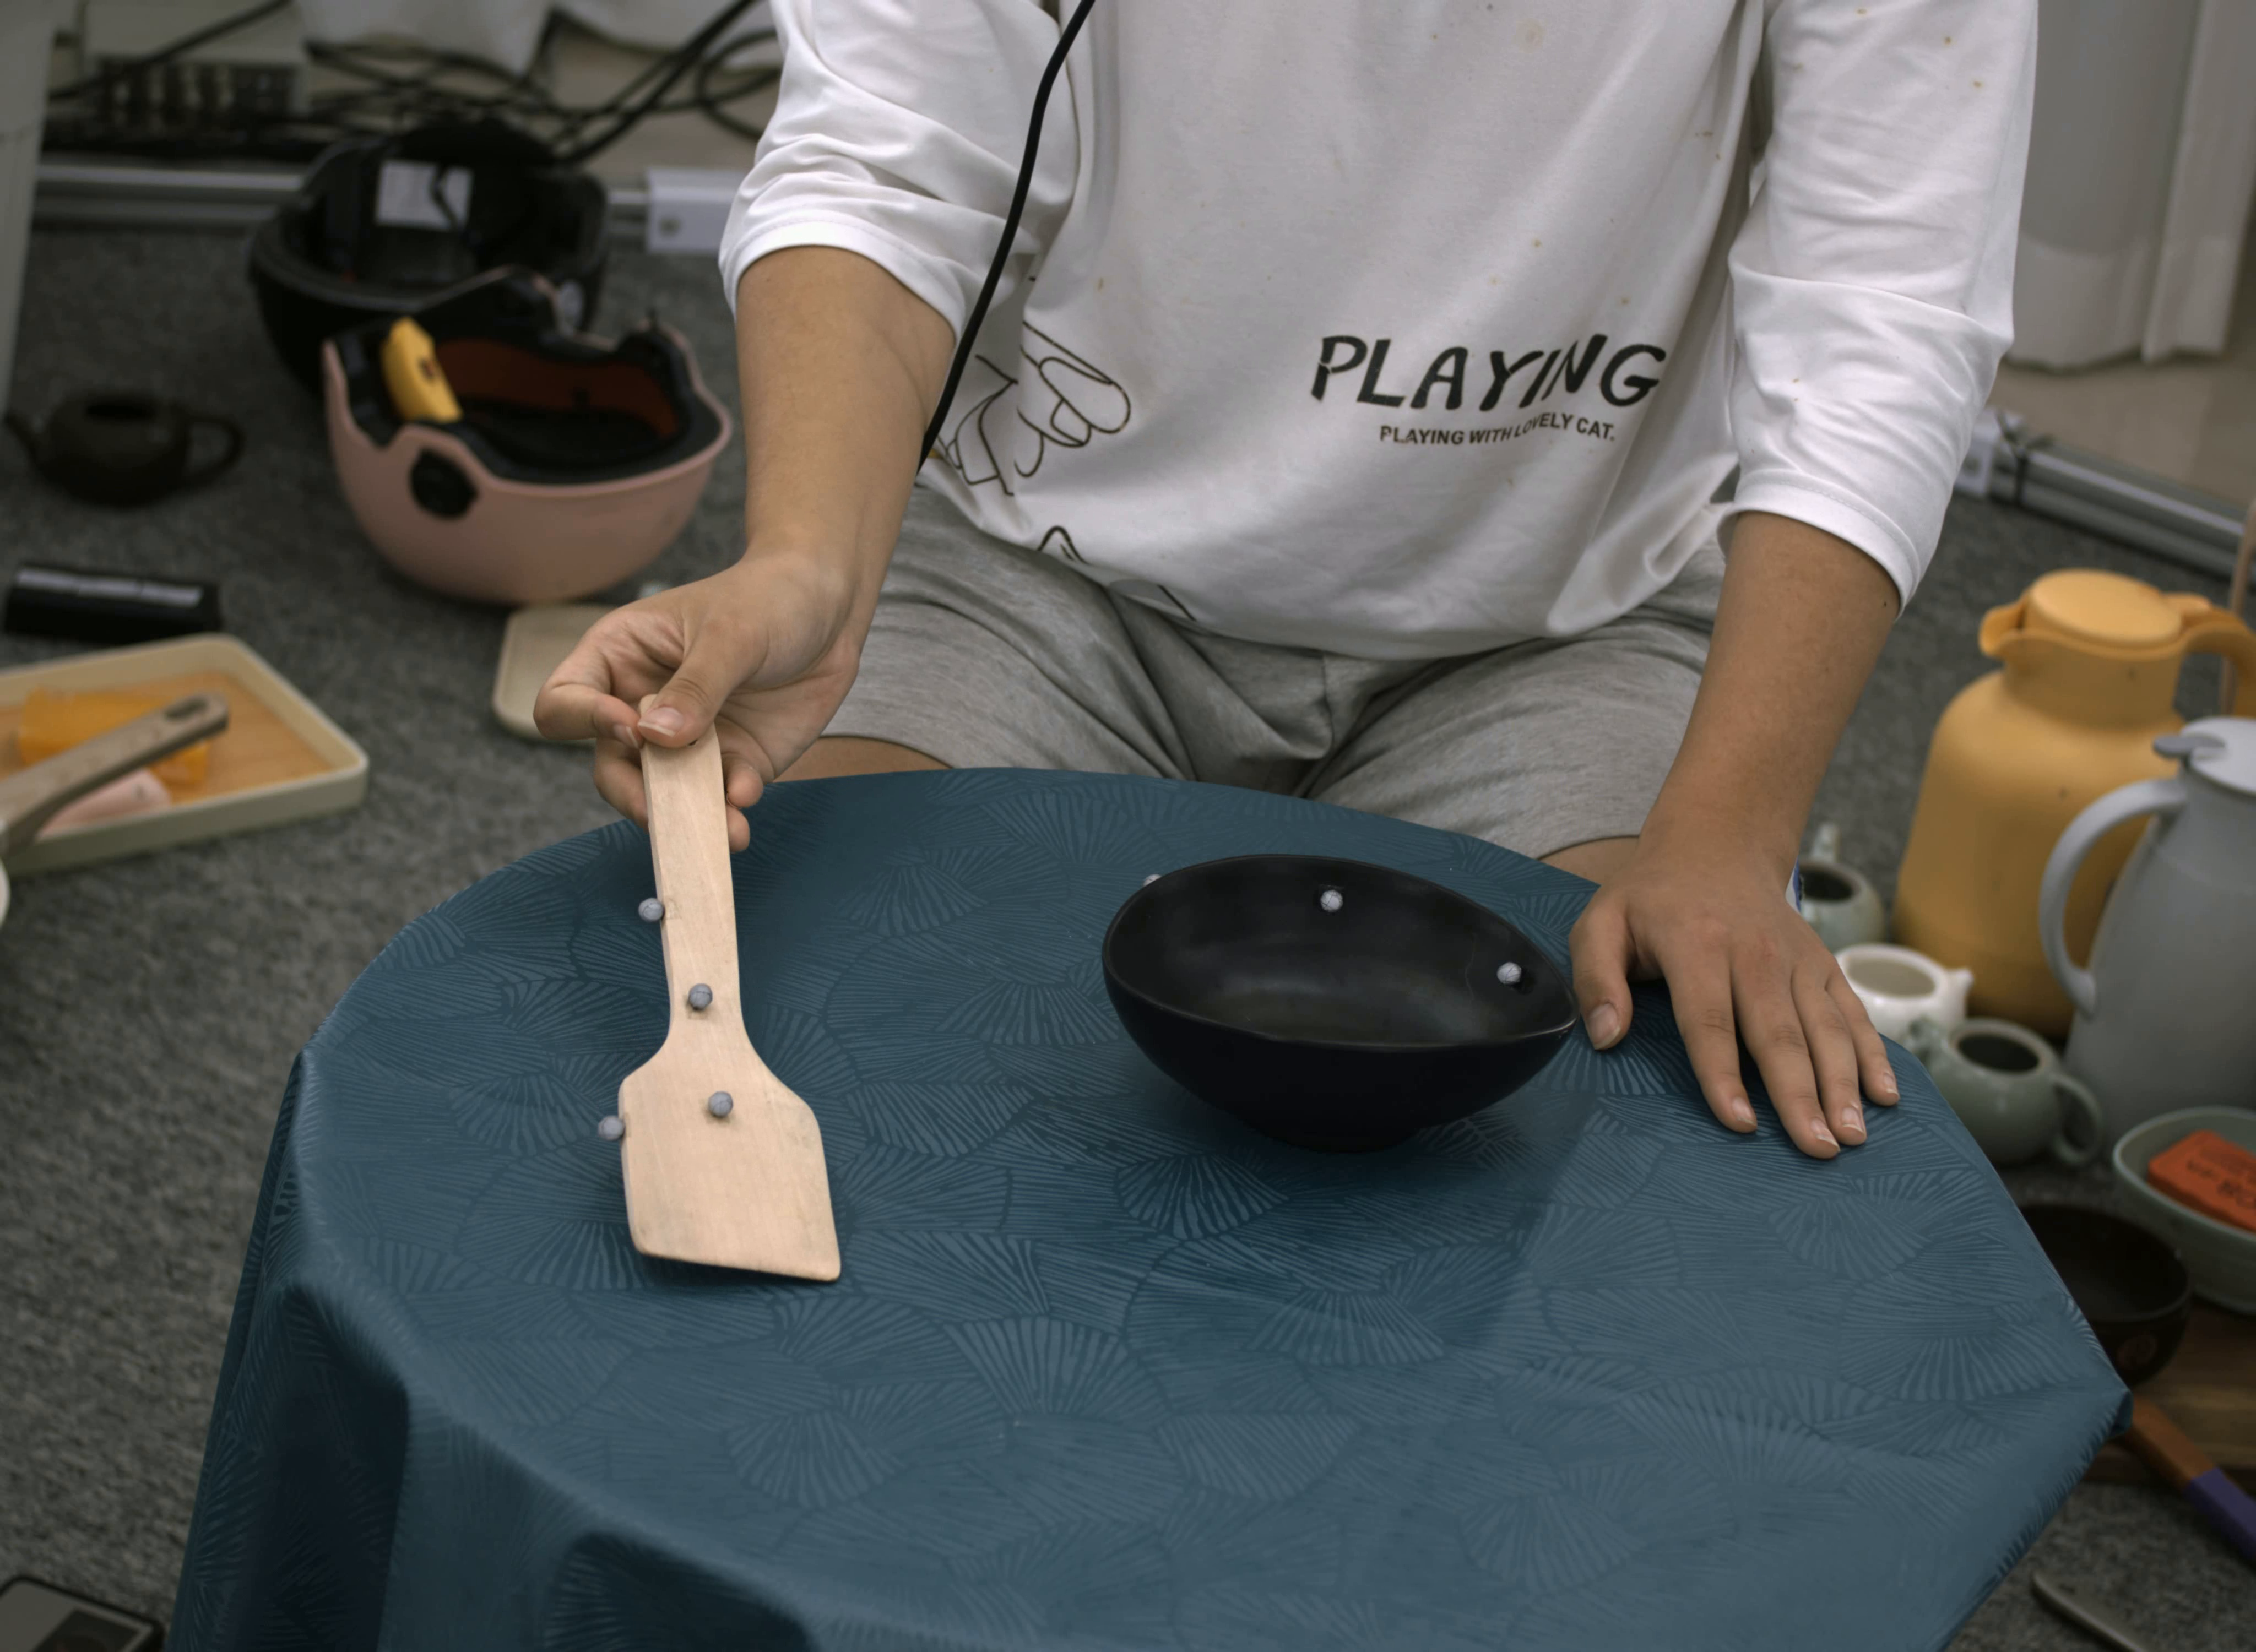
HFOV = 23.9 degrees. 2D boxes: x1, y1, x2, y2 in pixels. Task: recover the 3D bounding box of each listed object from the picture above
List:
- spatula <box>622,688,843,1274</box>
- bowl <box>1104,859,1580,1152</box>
[{"bbox_3d":[-0.146,0.047,1.836,0.072,0.010,0.295,9,39,-17],"label":"spatula"},{"bbox_3d":[0.071,0.069,1.860,0.169,0.066,0.138,3,26,-12],"label":"bowl"}]
